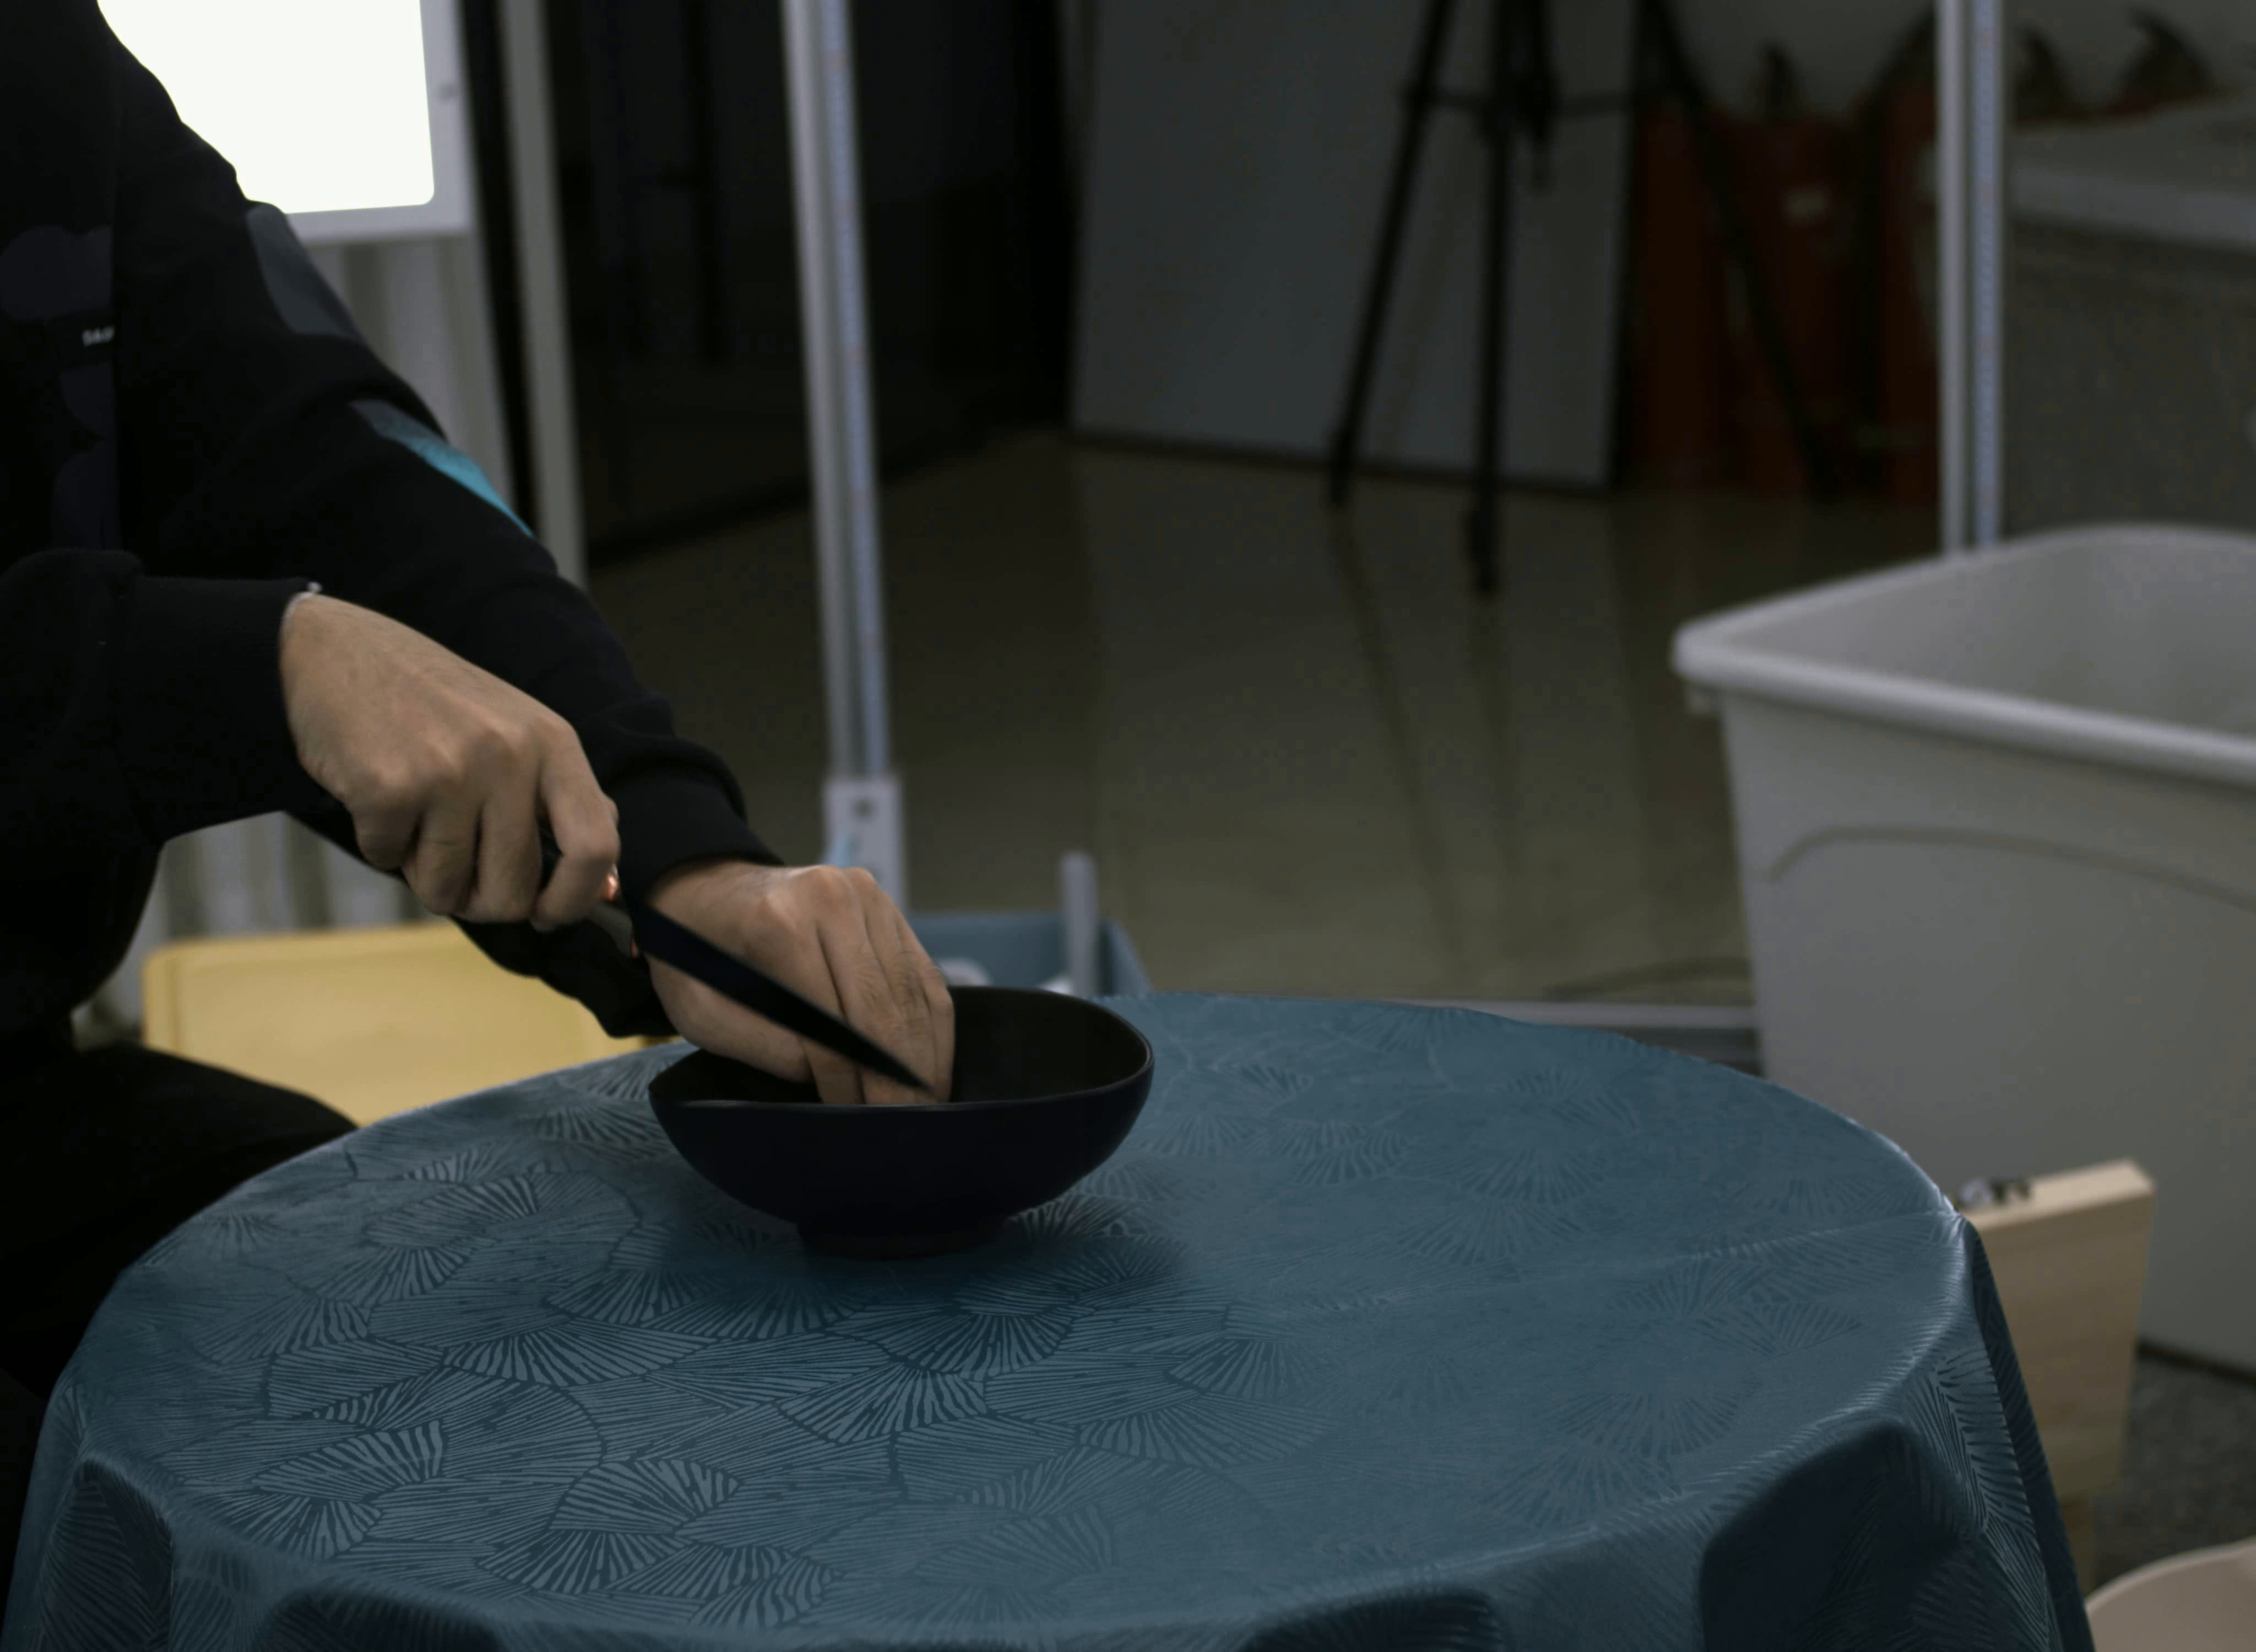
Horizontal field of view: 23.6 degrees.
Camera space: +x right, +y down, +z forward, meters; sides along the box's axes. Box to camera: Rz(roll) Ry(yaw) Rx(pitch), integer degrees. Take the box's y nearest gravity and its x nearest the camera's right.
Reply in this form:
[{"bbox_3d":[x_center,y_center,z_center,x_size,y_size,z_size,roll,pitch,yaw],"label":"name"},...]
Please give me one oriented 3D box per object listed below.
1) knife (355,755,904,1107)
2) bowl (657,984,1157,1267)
[{"bbox_3d":[-0.153,0.038,1.733,0.225,0.026,0.017,30,50,12],"label":"knife"},{"bbox_3d":[-0.071,0.101,1.738,0.170,0.067,0.136,-2,13,18],"label":"bowl"}]
